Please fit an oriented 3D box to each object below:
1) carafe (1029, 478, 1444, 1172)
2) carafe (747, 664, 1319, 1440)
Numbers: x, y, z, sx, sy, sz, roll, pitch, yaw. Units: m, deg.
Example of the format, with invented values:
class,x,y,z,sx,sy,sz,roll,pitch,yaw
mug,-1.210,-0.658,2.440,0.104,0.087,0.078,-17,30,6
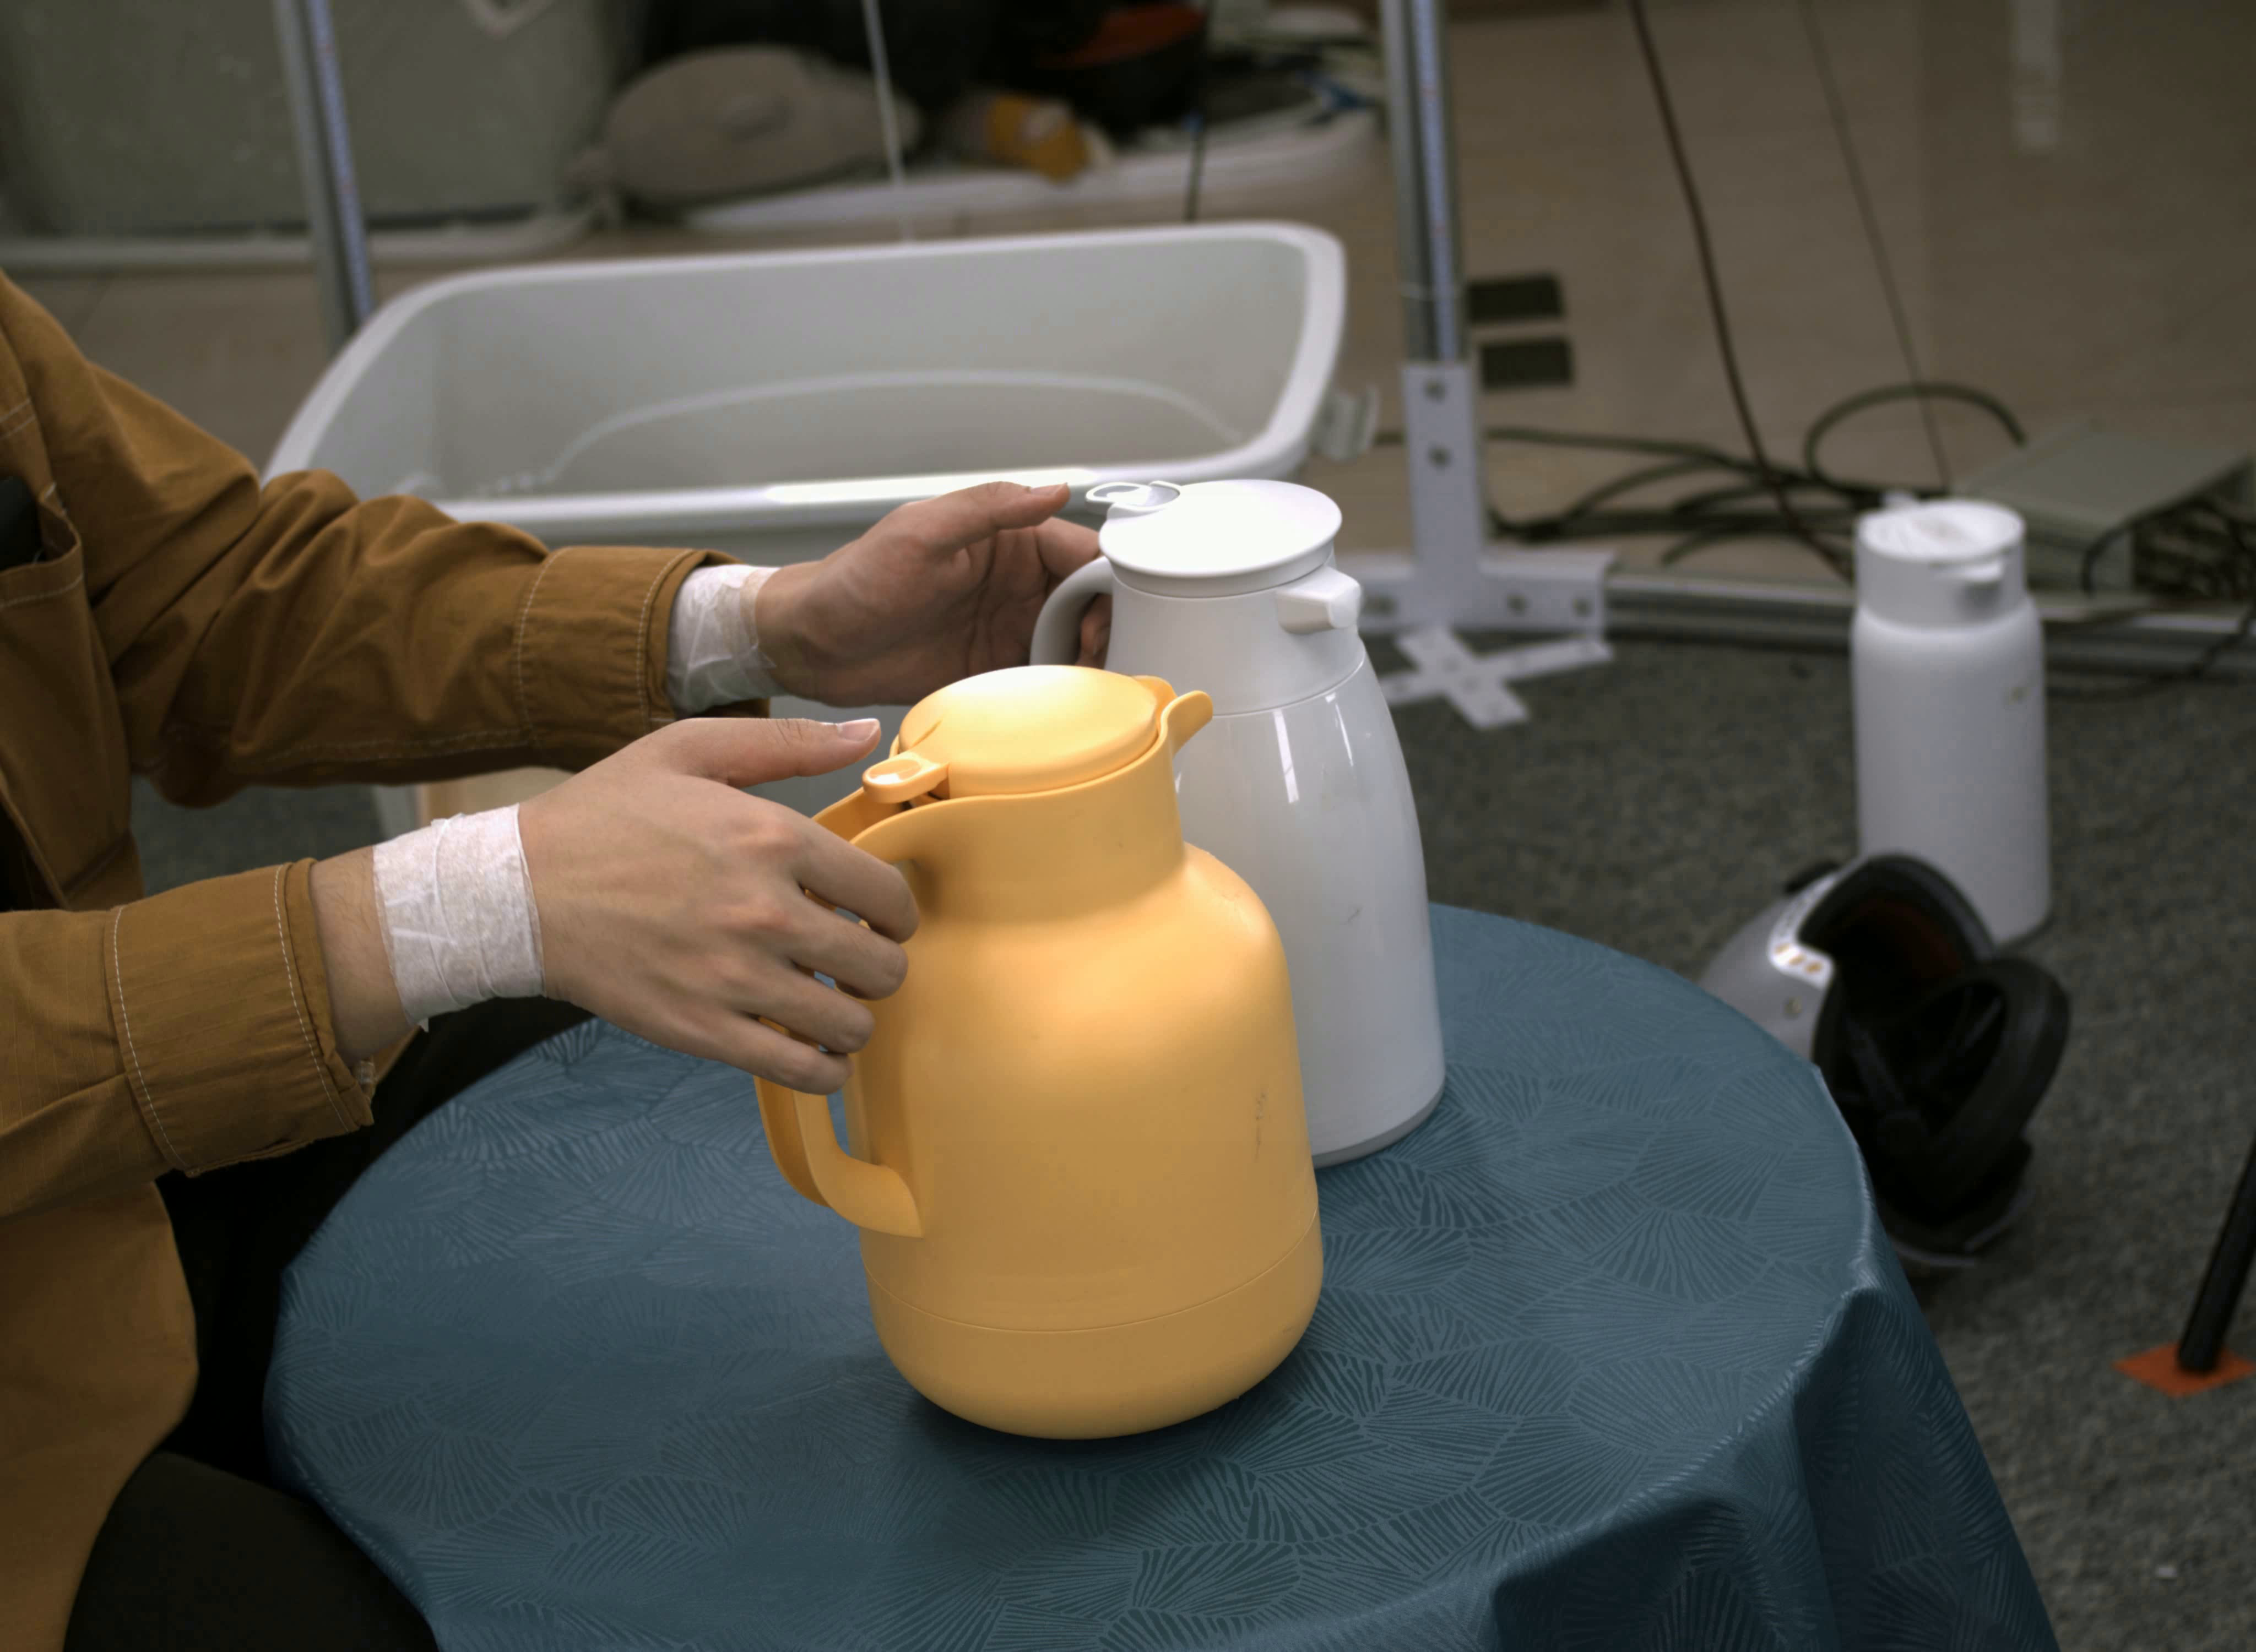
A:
class,x,y,z,sx,sy,sz,roll,pitch,yaw
carafe,0.031,-0.010,2.164,0.166,0.252,0.131,16,34,40
carafe,-0.038,0.080,1.974,0.201,0.264,0.162,-21,27,-30
